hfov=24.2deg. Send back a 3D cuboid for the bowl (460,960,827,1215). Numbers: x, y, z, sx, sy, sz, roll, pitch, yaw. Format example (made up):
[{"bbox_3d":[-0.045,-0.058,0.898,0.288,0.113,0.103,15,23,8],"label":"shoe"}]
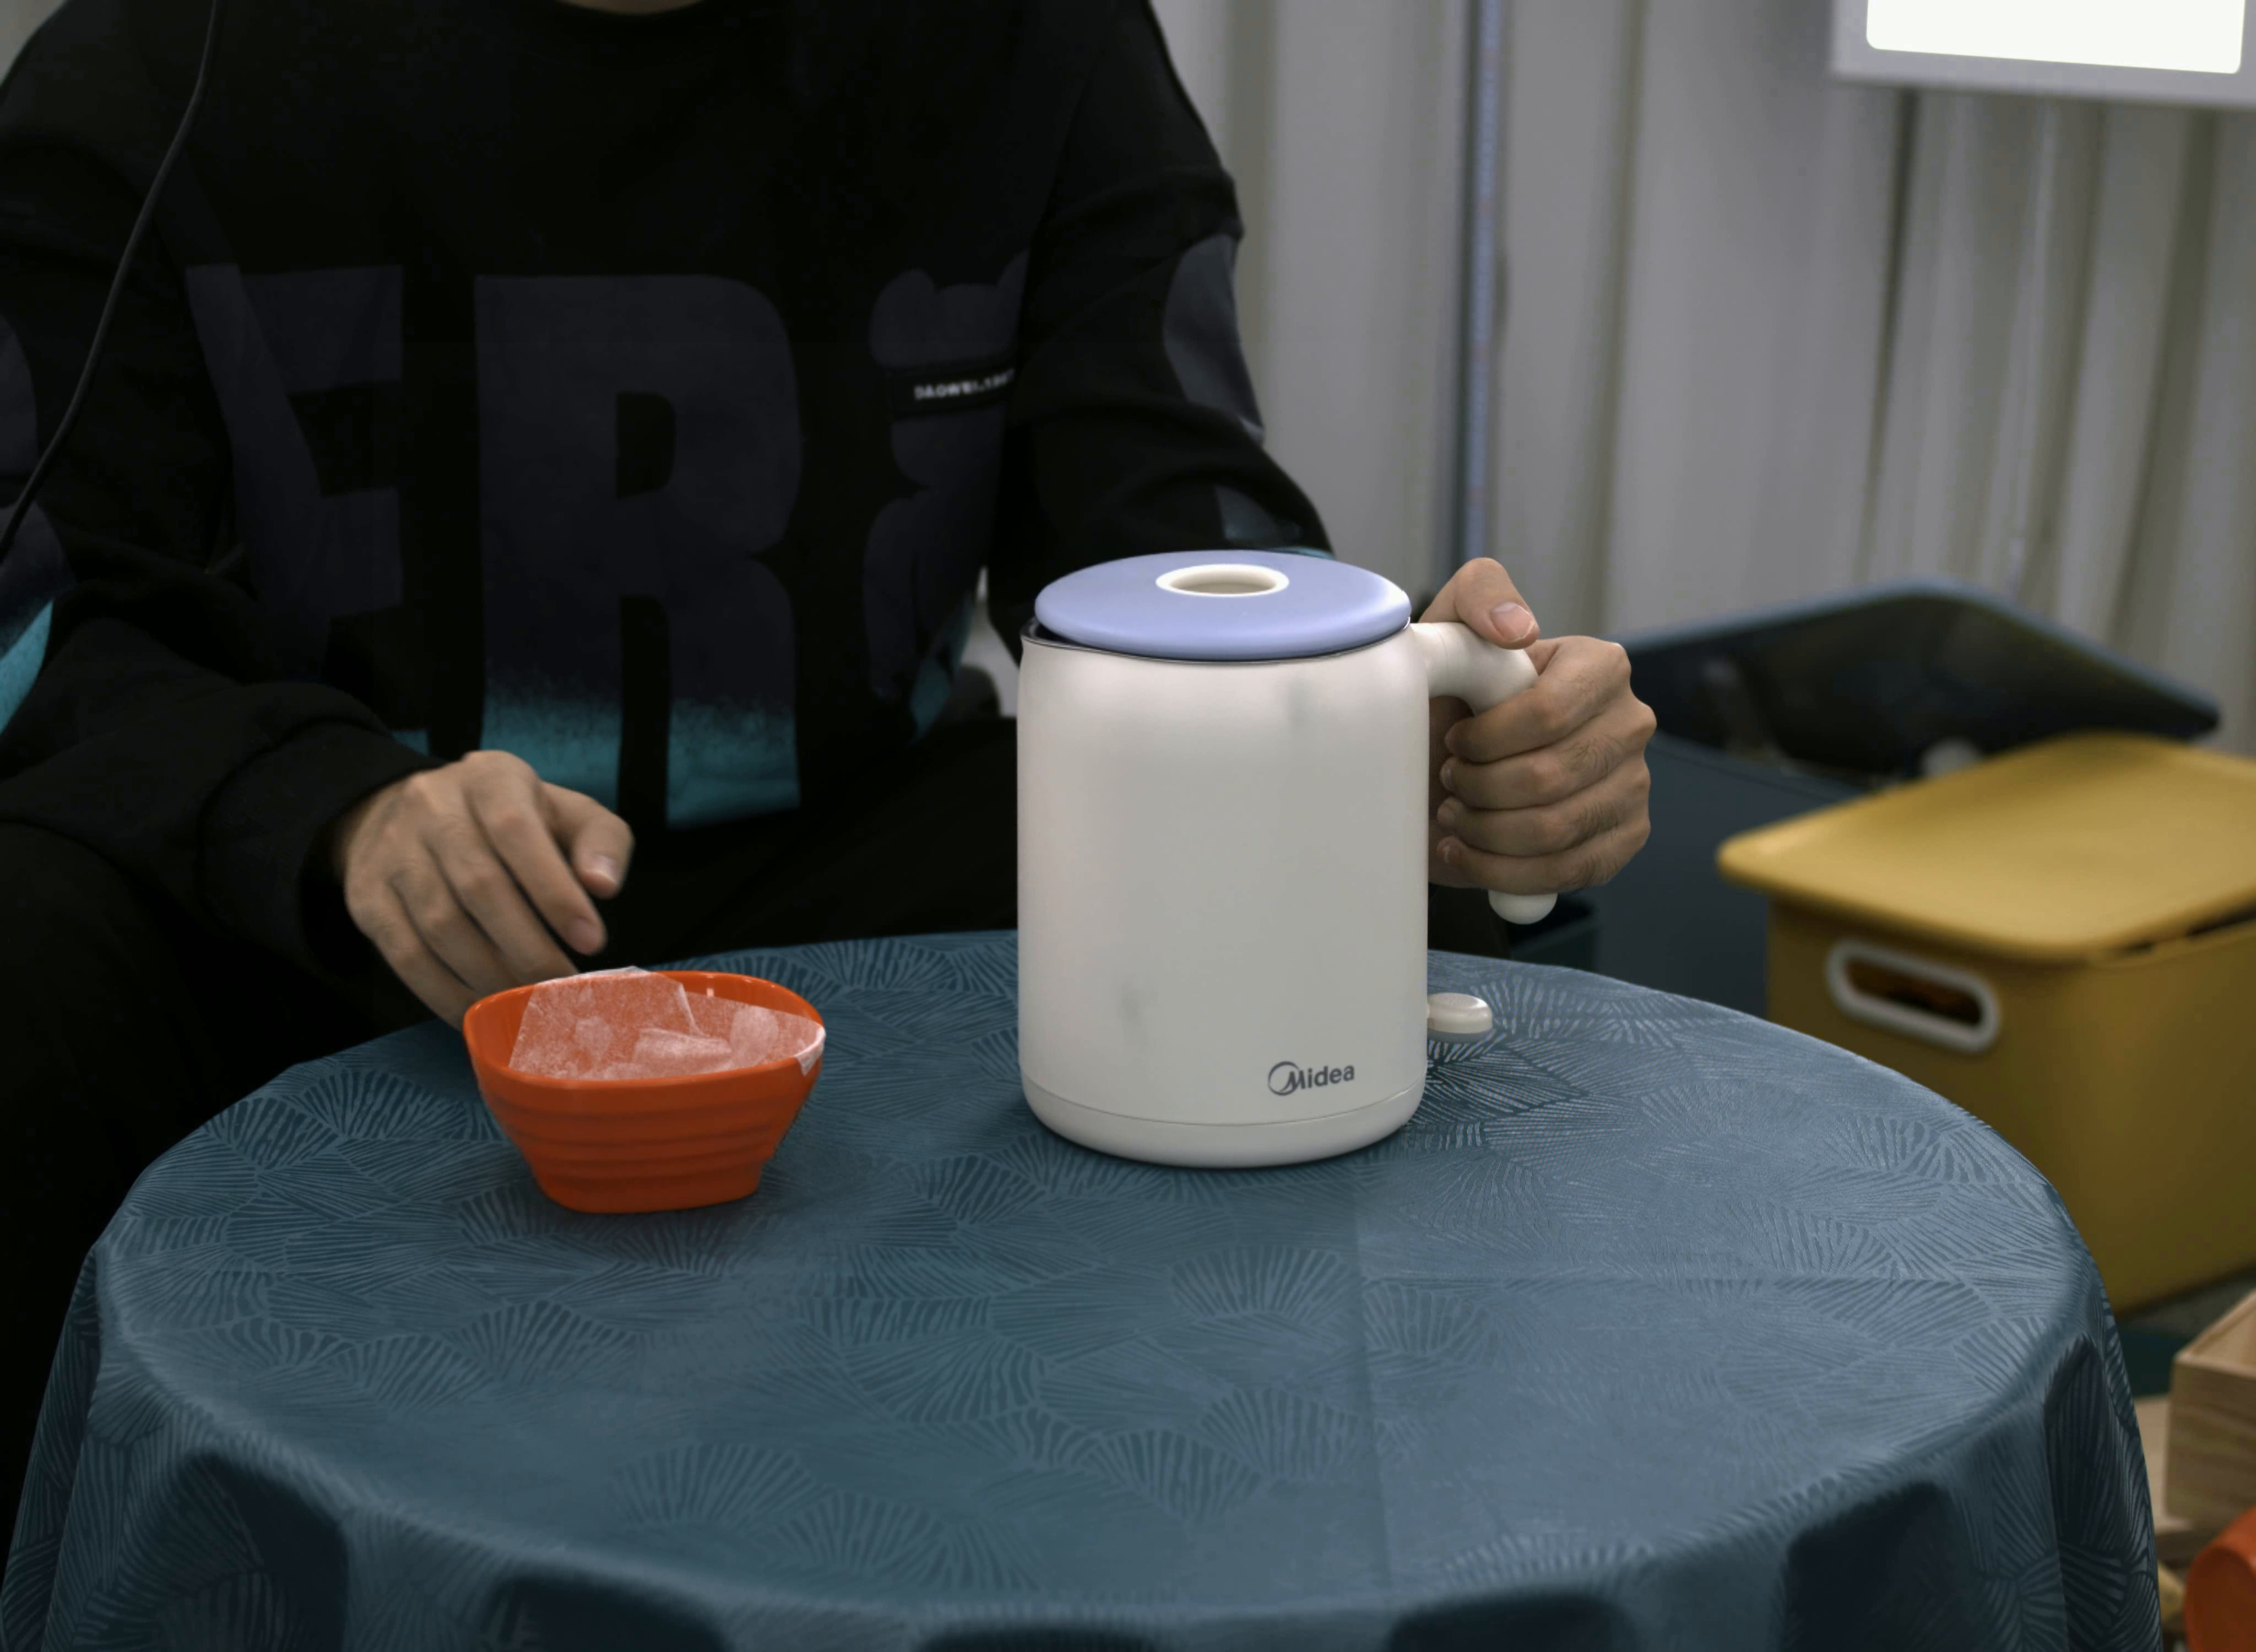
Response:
[{"bbox_3d":[-0.149,0.083,1.621,0.118,0.052,0.118,0,18,1],"label":"bowl"}]

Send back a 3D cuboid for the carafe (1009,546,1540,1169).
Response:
[{"bbox_3d":[0.051,0.007,1.682,0.192,0.184,0.130,-5,18,-27],"label":"carafe"}]
